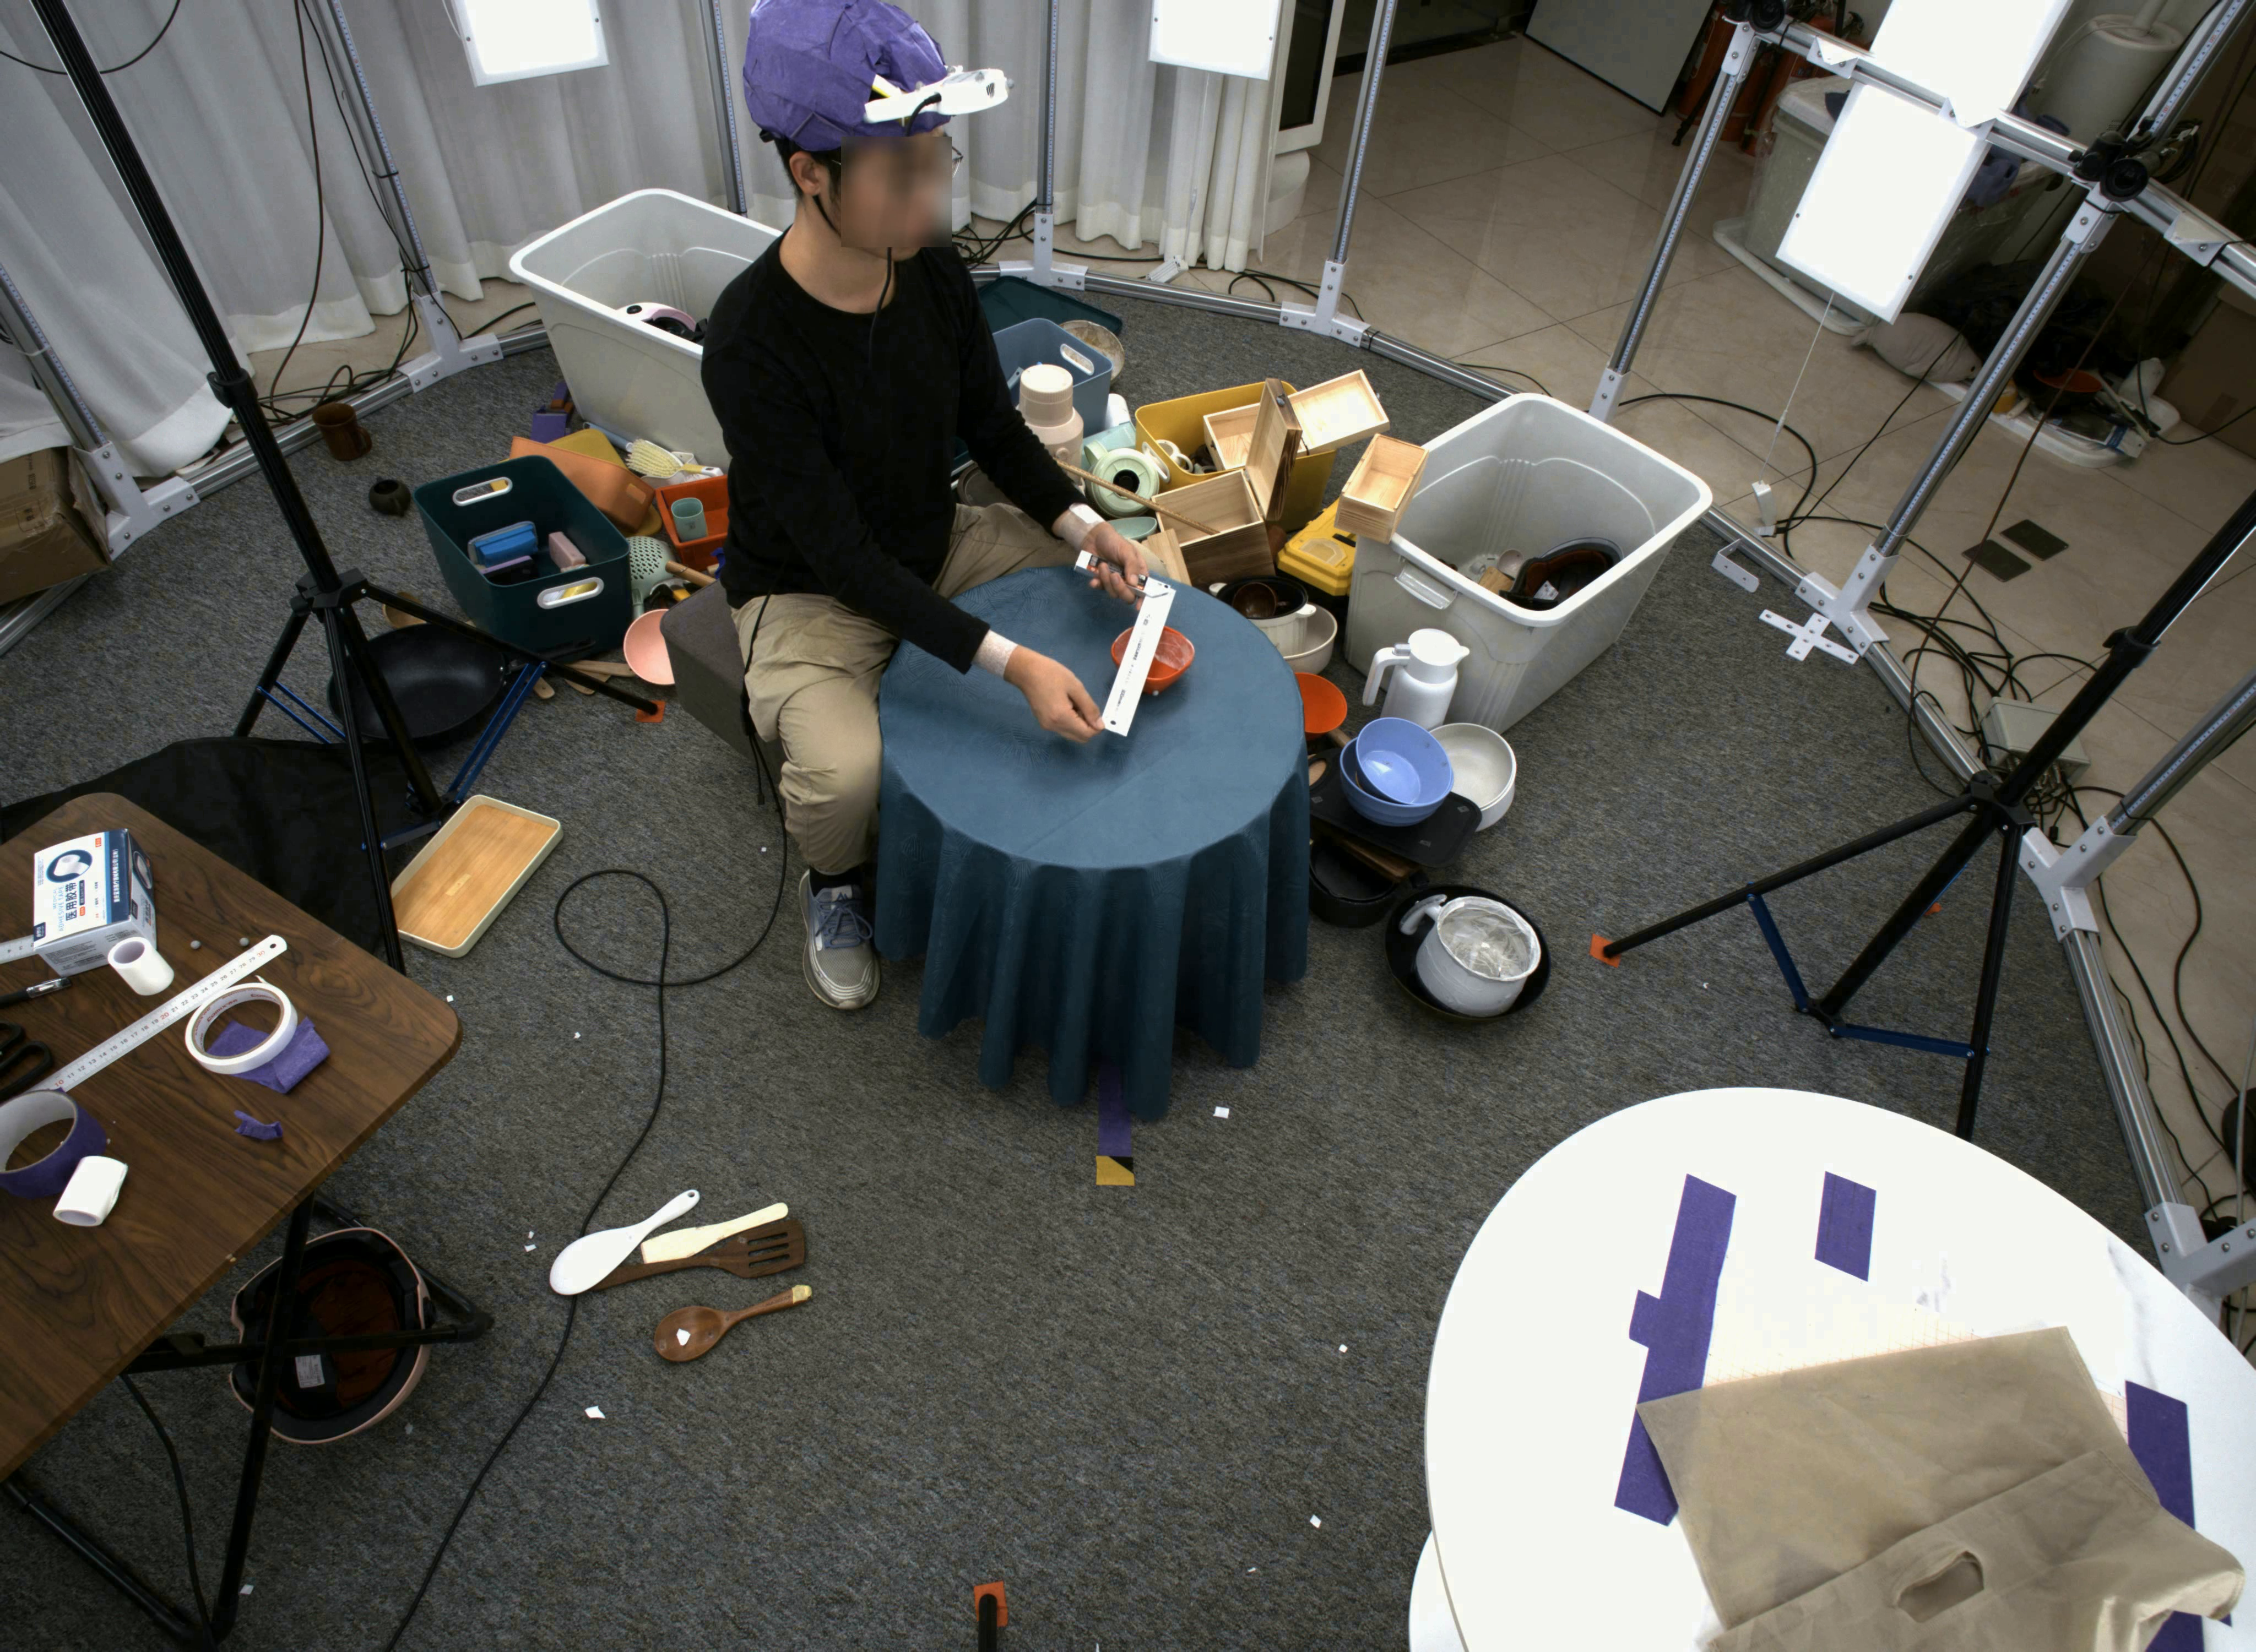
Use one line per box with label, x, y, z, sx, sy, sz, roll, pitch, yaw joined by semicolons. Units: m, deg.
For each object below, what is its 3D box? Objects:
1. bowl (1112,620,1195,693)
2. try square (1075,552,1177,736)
bowl;0.034;-0.236;1.841;0.119;0.050;0.122;3;53;-4
try square;-0.034;-0.262;1.811;0.152;0.015;0.320;19;50;-2
